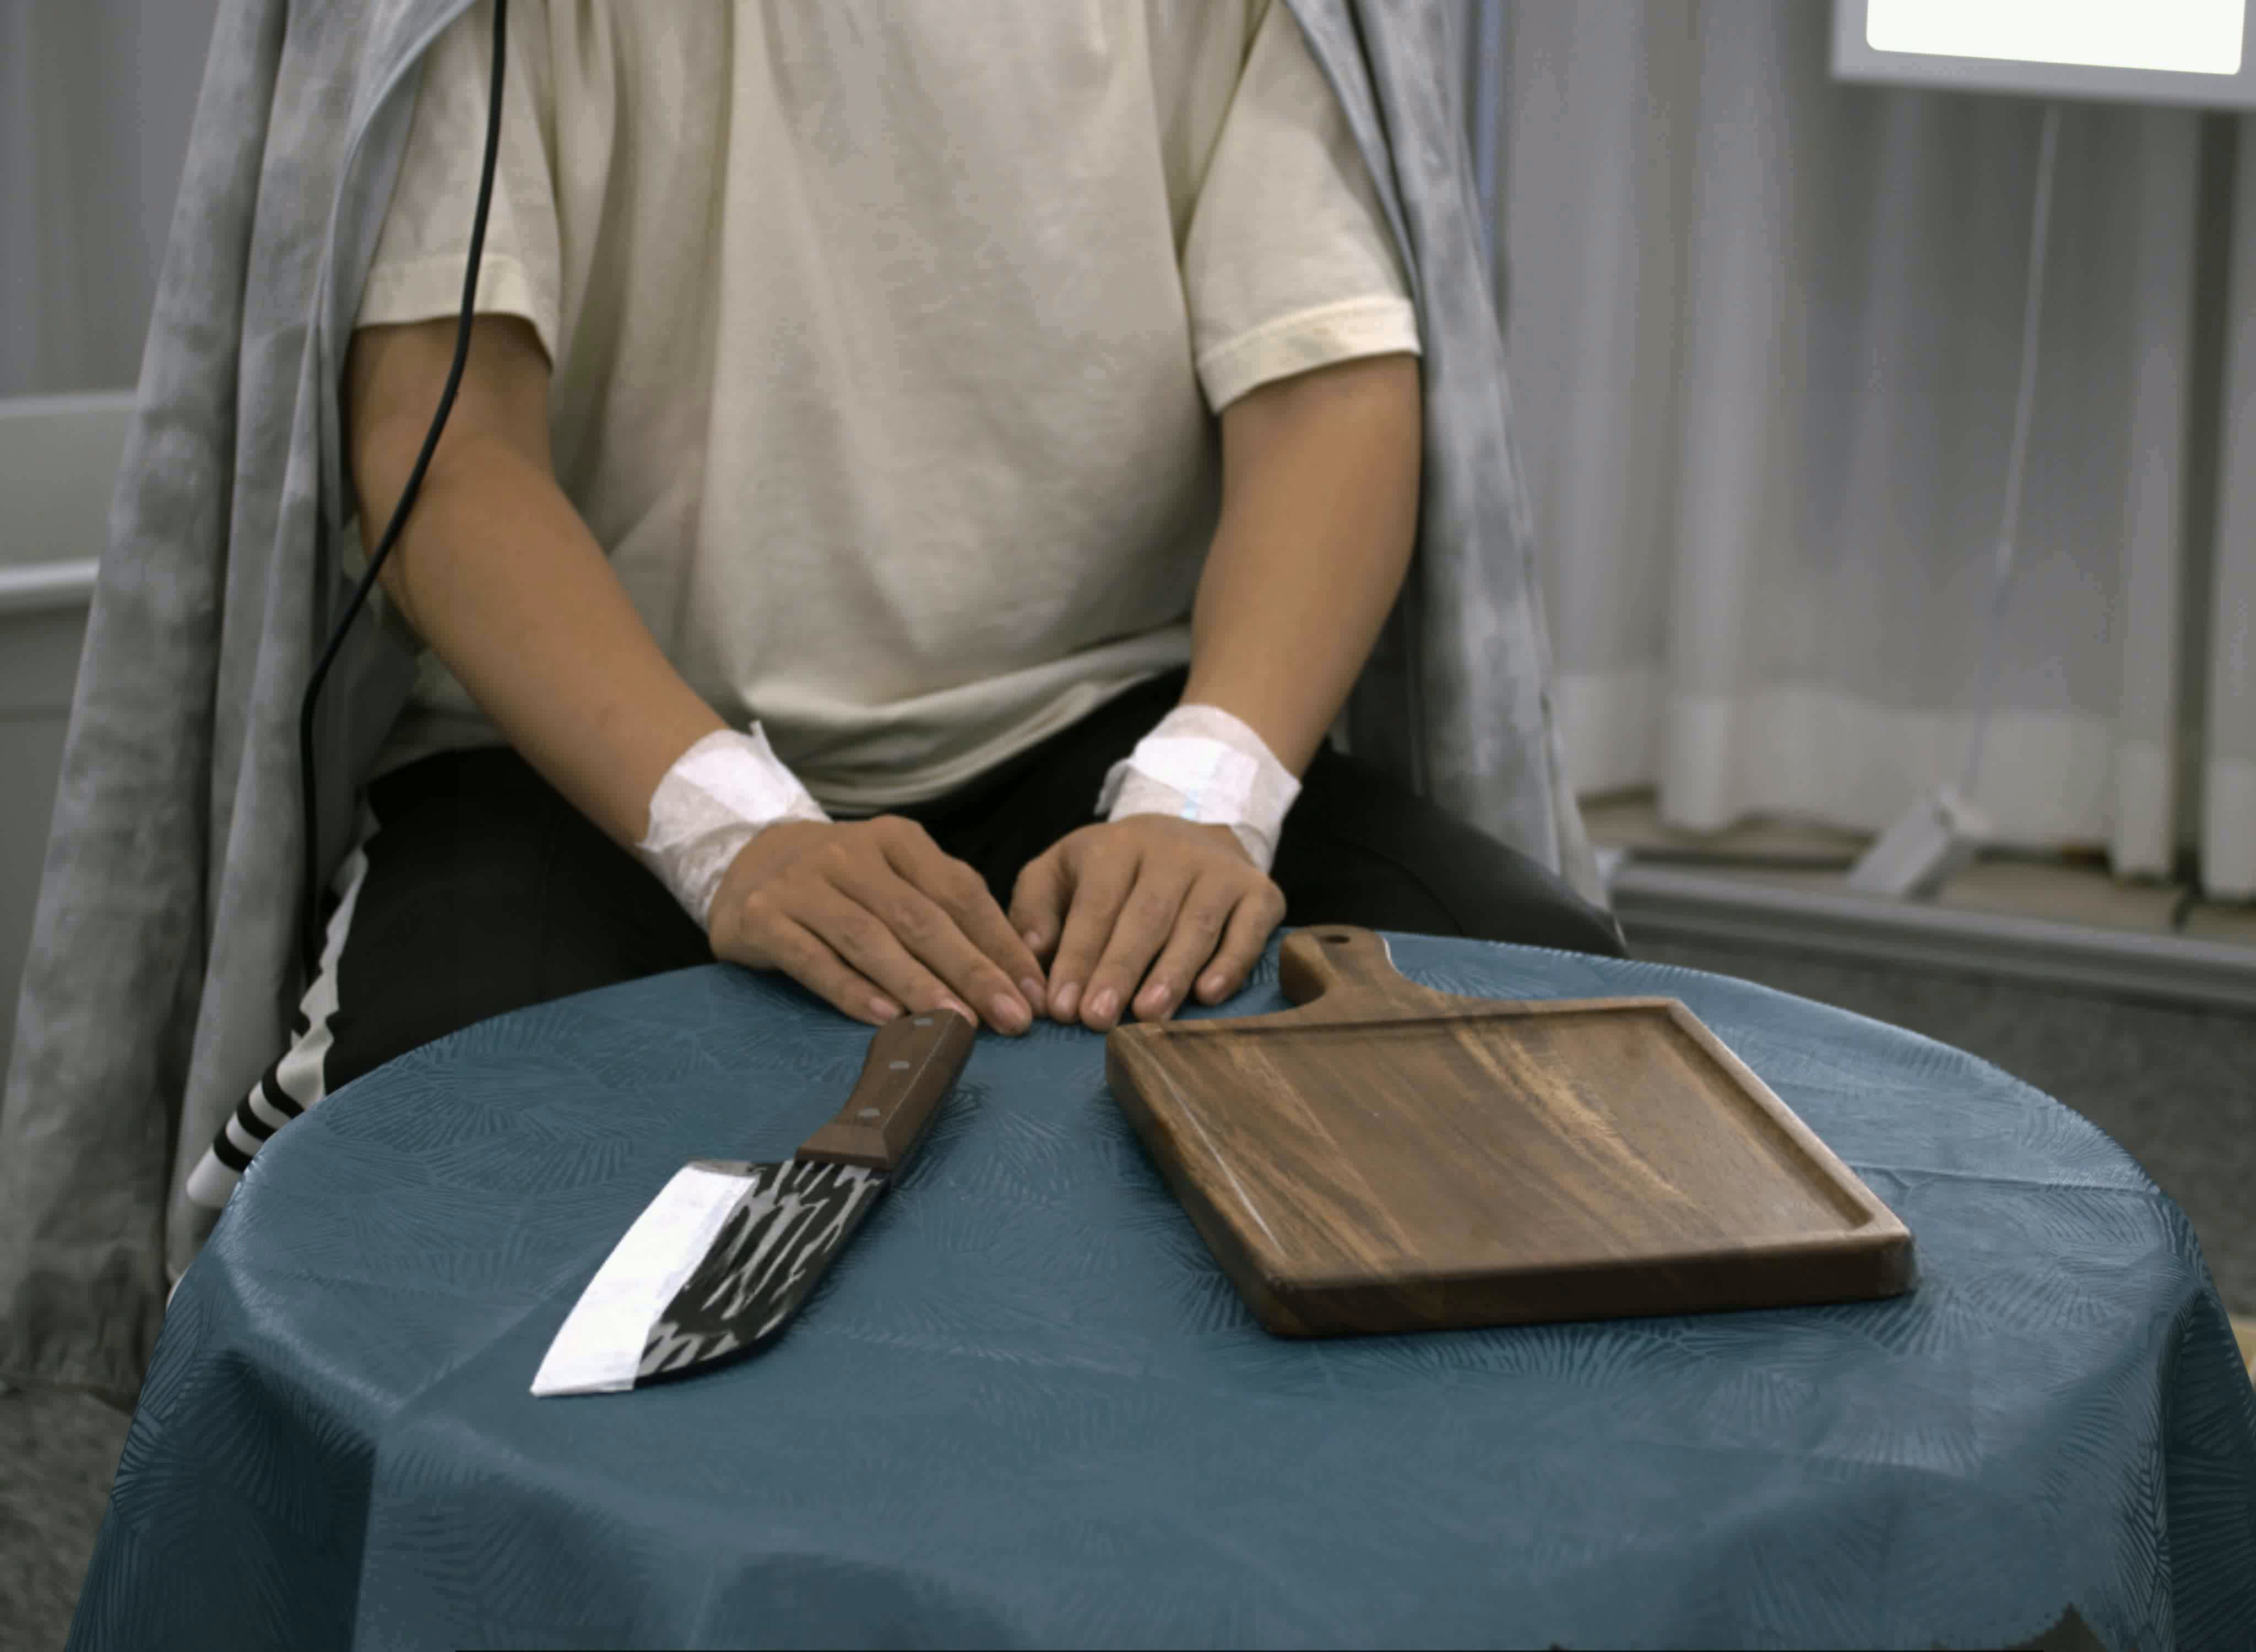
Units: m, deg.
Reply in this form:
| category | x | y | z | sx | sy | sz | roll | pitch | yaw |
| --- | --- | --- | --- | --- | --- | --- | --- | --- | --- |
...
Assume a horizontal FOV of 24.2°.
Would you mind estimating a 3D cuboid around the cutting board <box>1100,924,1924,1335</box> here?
| category | x | y | z | sx | sy | sz | roll | pitch | yaw |
| --- | --- | --- | --- | --- | --- | --- | --- | --- | --- |
| cutting board | 0.102 | 0.088 | 1.679 | 0.201 | 0.023 | 0.349 | -3 | 15 | -12 |

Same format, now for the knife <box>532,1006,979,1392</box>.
| category | x | y | z | sx | sy | sz | roll | pitch | yaw |
| --- | --- | --- | --- | --- | --- | --- | --- | --- | --- |
| knife | -0.108 | 0.112 | 1.588 | 0.067 | 0.024 | 0.299 | 1 | 18 | 14 |
